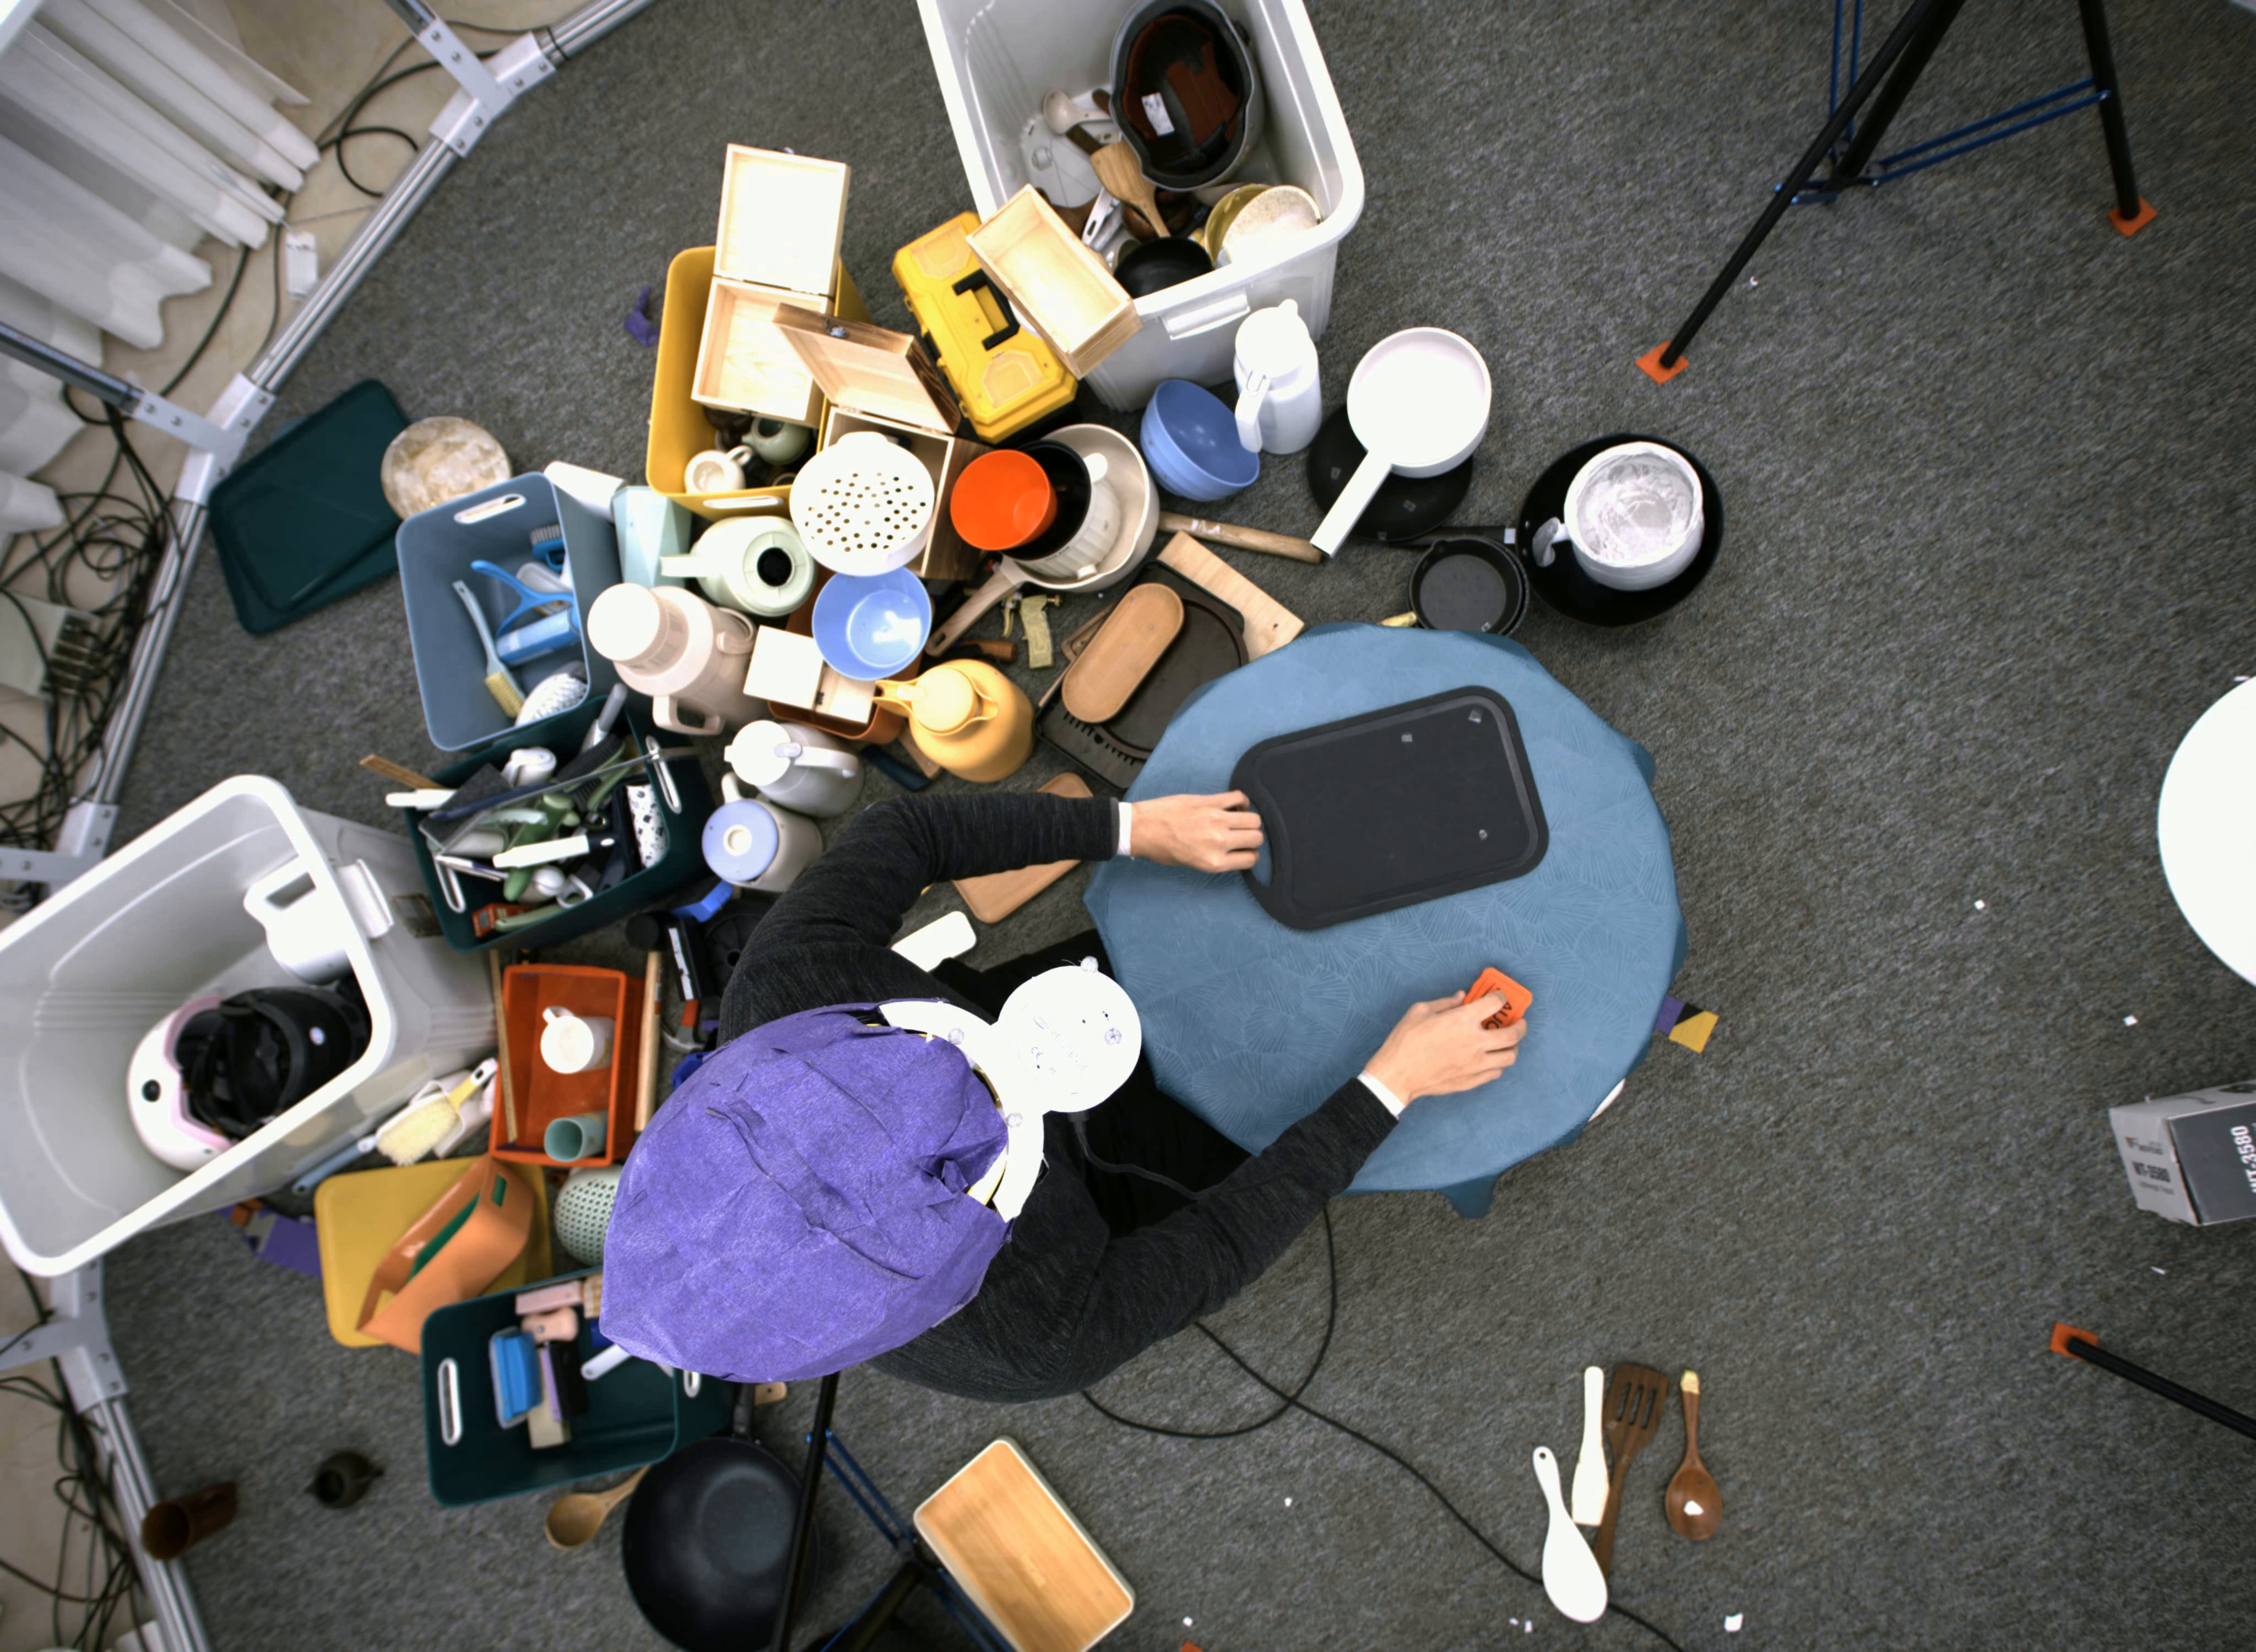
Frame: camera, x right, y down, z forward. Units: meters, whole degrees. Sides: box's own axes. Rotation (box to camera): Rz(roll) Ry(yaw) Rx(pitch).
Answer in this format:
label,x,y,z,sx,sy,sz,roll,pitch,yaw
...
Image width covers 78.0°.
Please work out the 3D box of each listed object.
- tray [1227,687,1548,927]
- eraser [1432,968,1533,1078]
label,x,y,z,sx,sy,sz,roll,pitch,yaw
tray,0.268,-0.019,1.458,0.327,0.010,0.210,-14,84,7
eraser,0.365,0.200,1.421,0.059,0.023,0.108,36,94,11
